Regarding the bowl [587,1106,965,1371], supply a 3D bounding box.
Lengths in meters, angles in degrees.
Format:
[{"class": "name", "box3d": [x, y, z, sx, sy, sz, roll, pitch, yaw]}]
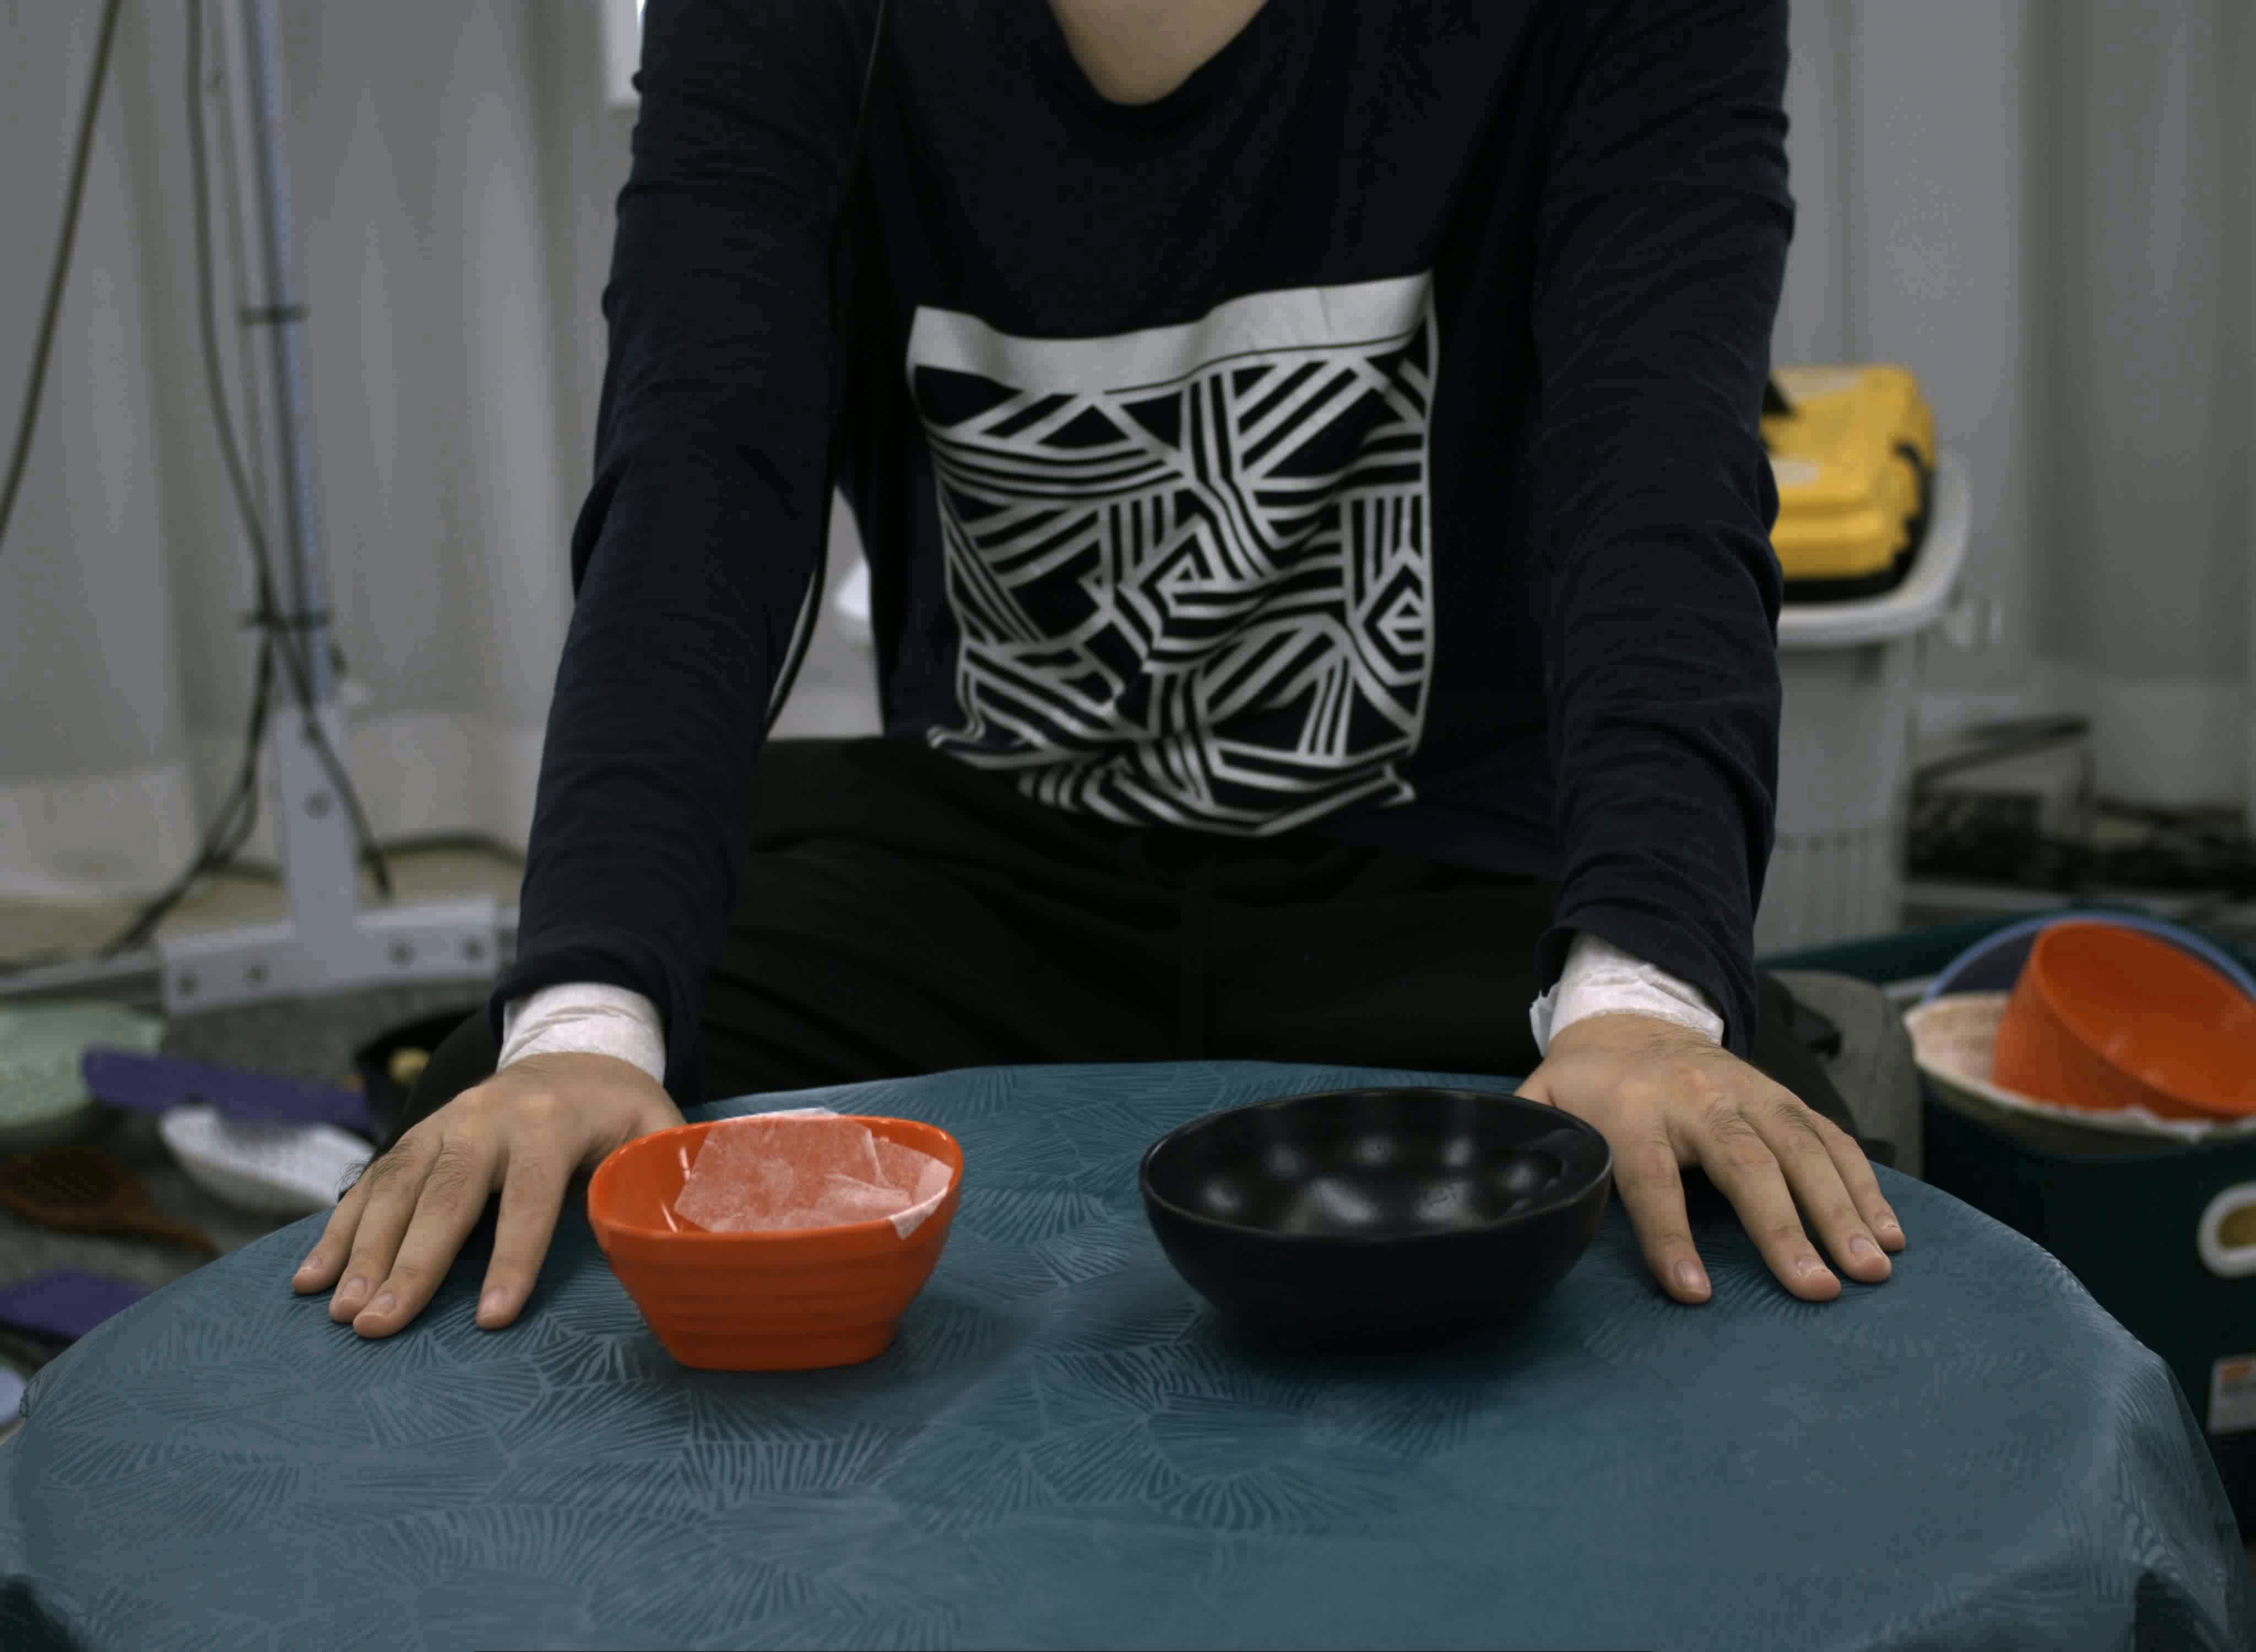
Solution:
[{"class": "bowl", "box3d": [-0.101, 0.124, 1.601, 0.118, 0.051, 0.120, -4, 16, 1]}]

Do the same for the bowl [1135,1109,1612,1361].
[{"class": "bowl", "box3d": [0.072, 0.123, 1.590, 0.139, 0.049, 0.140, -2, 10, 0]}]
